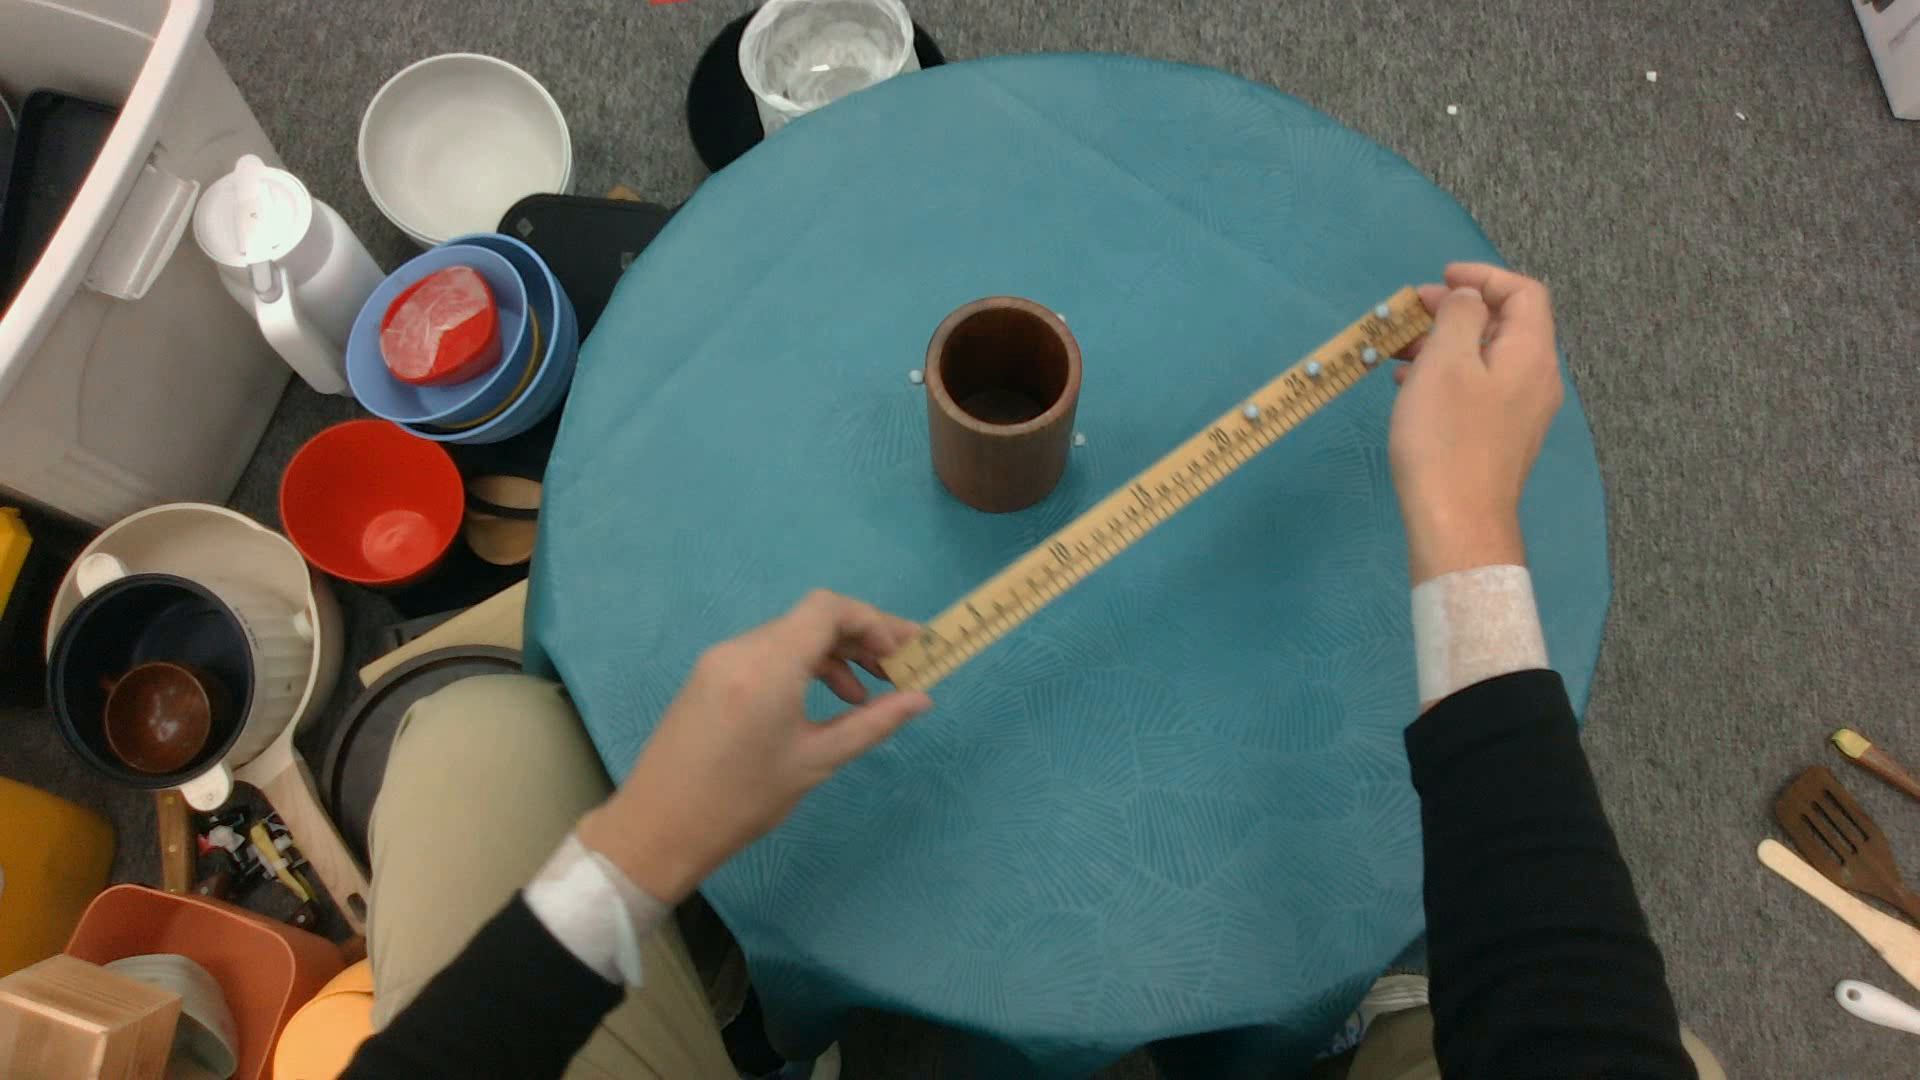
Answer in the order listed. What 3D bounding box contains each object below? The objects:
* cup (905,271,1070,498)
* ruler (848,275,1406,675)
[{"bbox_3d":[0.014,-0.080,0.736,0.088,0.118,0.088,0,71,0],"label":"cup"},{"bbox_3d":[0.089,-0.038,0.669,0.332,0.022,0.027,-34,78,-13],"label":"ruler"}]
